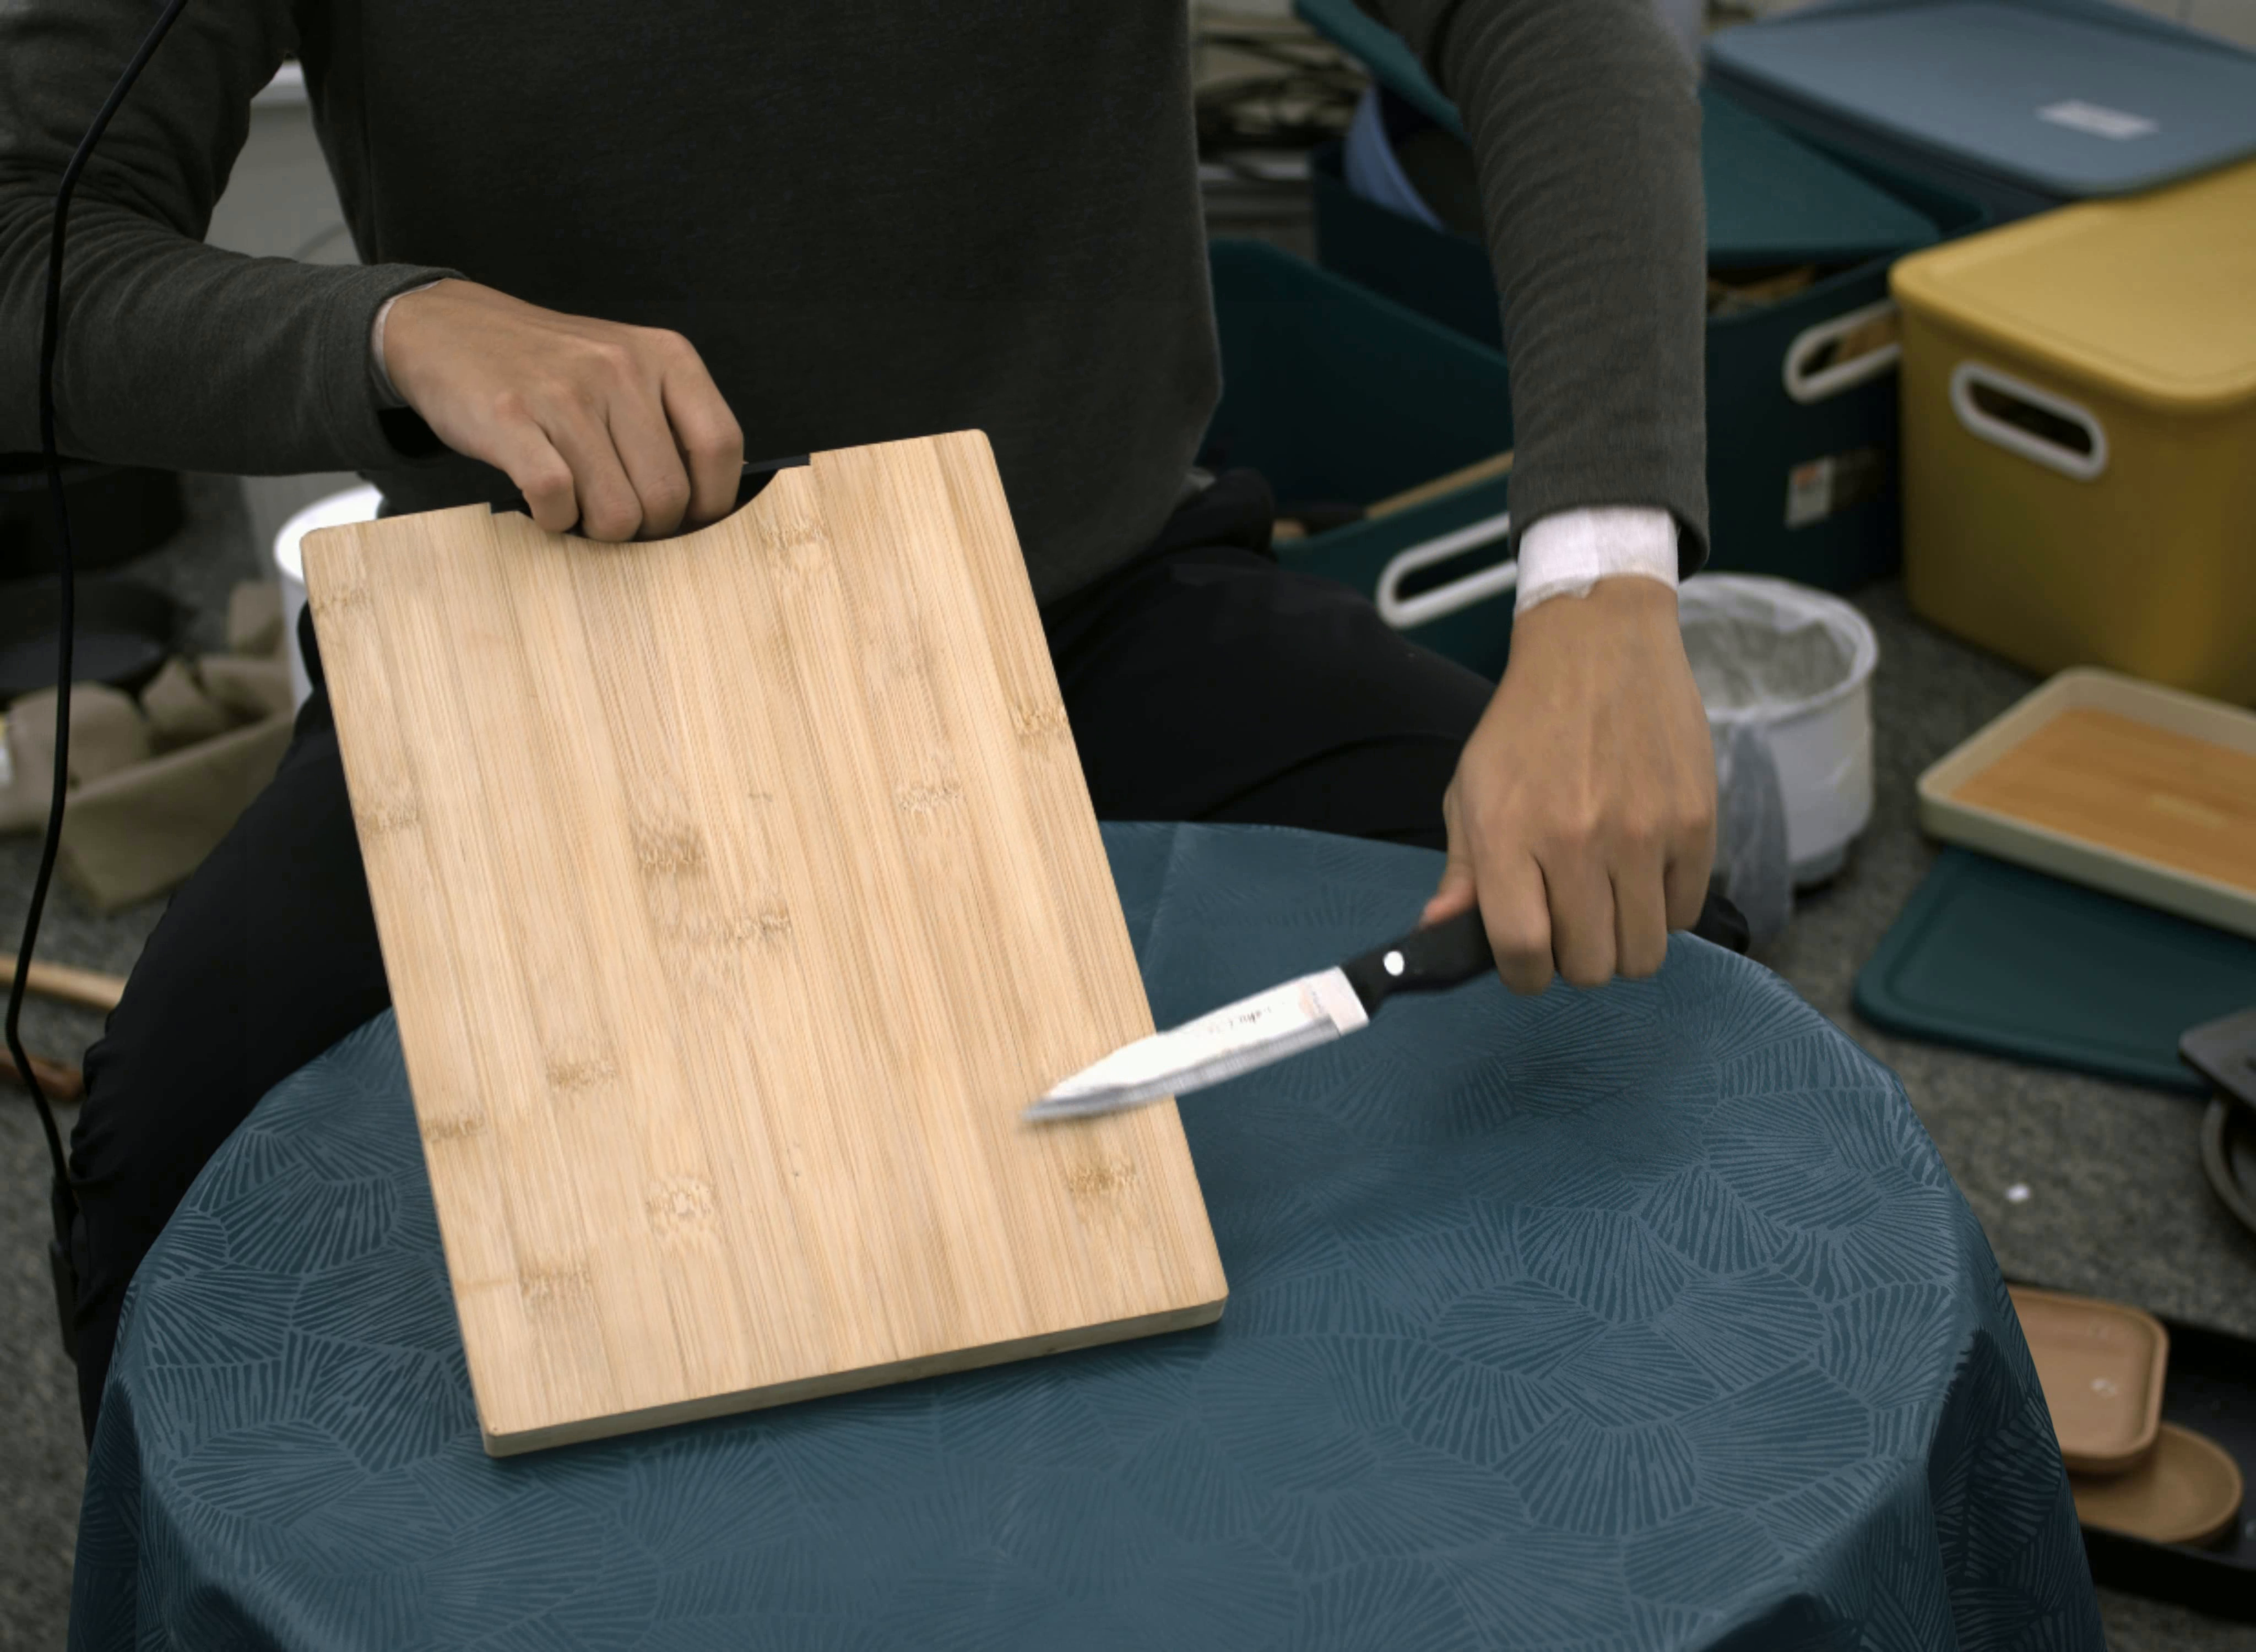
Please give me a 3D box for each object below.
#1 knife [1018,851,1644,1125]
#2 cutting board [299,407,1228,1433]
[{"bbox_3d":[0.066,0.053,1.842,0.239,0.016,0.025,-21,69,-23],"label":"knife"},{"bbox_3d":[-0.124,0.025,1.843,0.251,0.023,0.354,-9,60,-13],"label":"cutting board"}]
